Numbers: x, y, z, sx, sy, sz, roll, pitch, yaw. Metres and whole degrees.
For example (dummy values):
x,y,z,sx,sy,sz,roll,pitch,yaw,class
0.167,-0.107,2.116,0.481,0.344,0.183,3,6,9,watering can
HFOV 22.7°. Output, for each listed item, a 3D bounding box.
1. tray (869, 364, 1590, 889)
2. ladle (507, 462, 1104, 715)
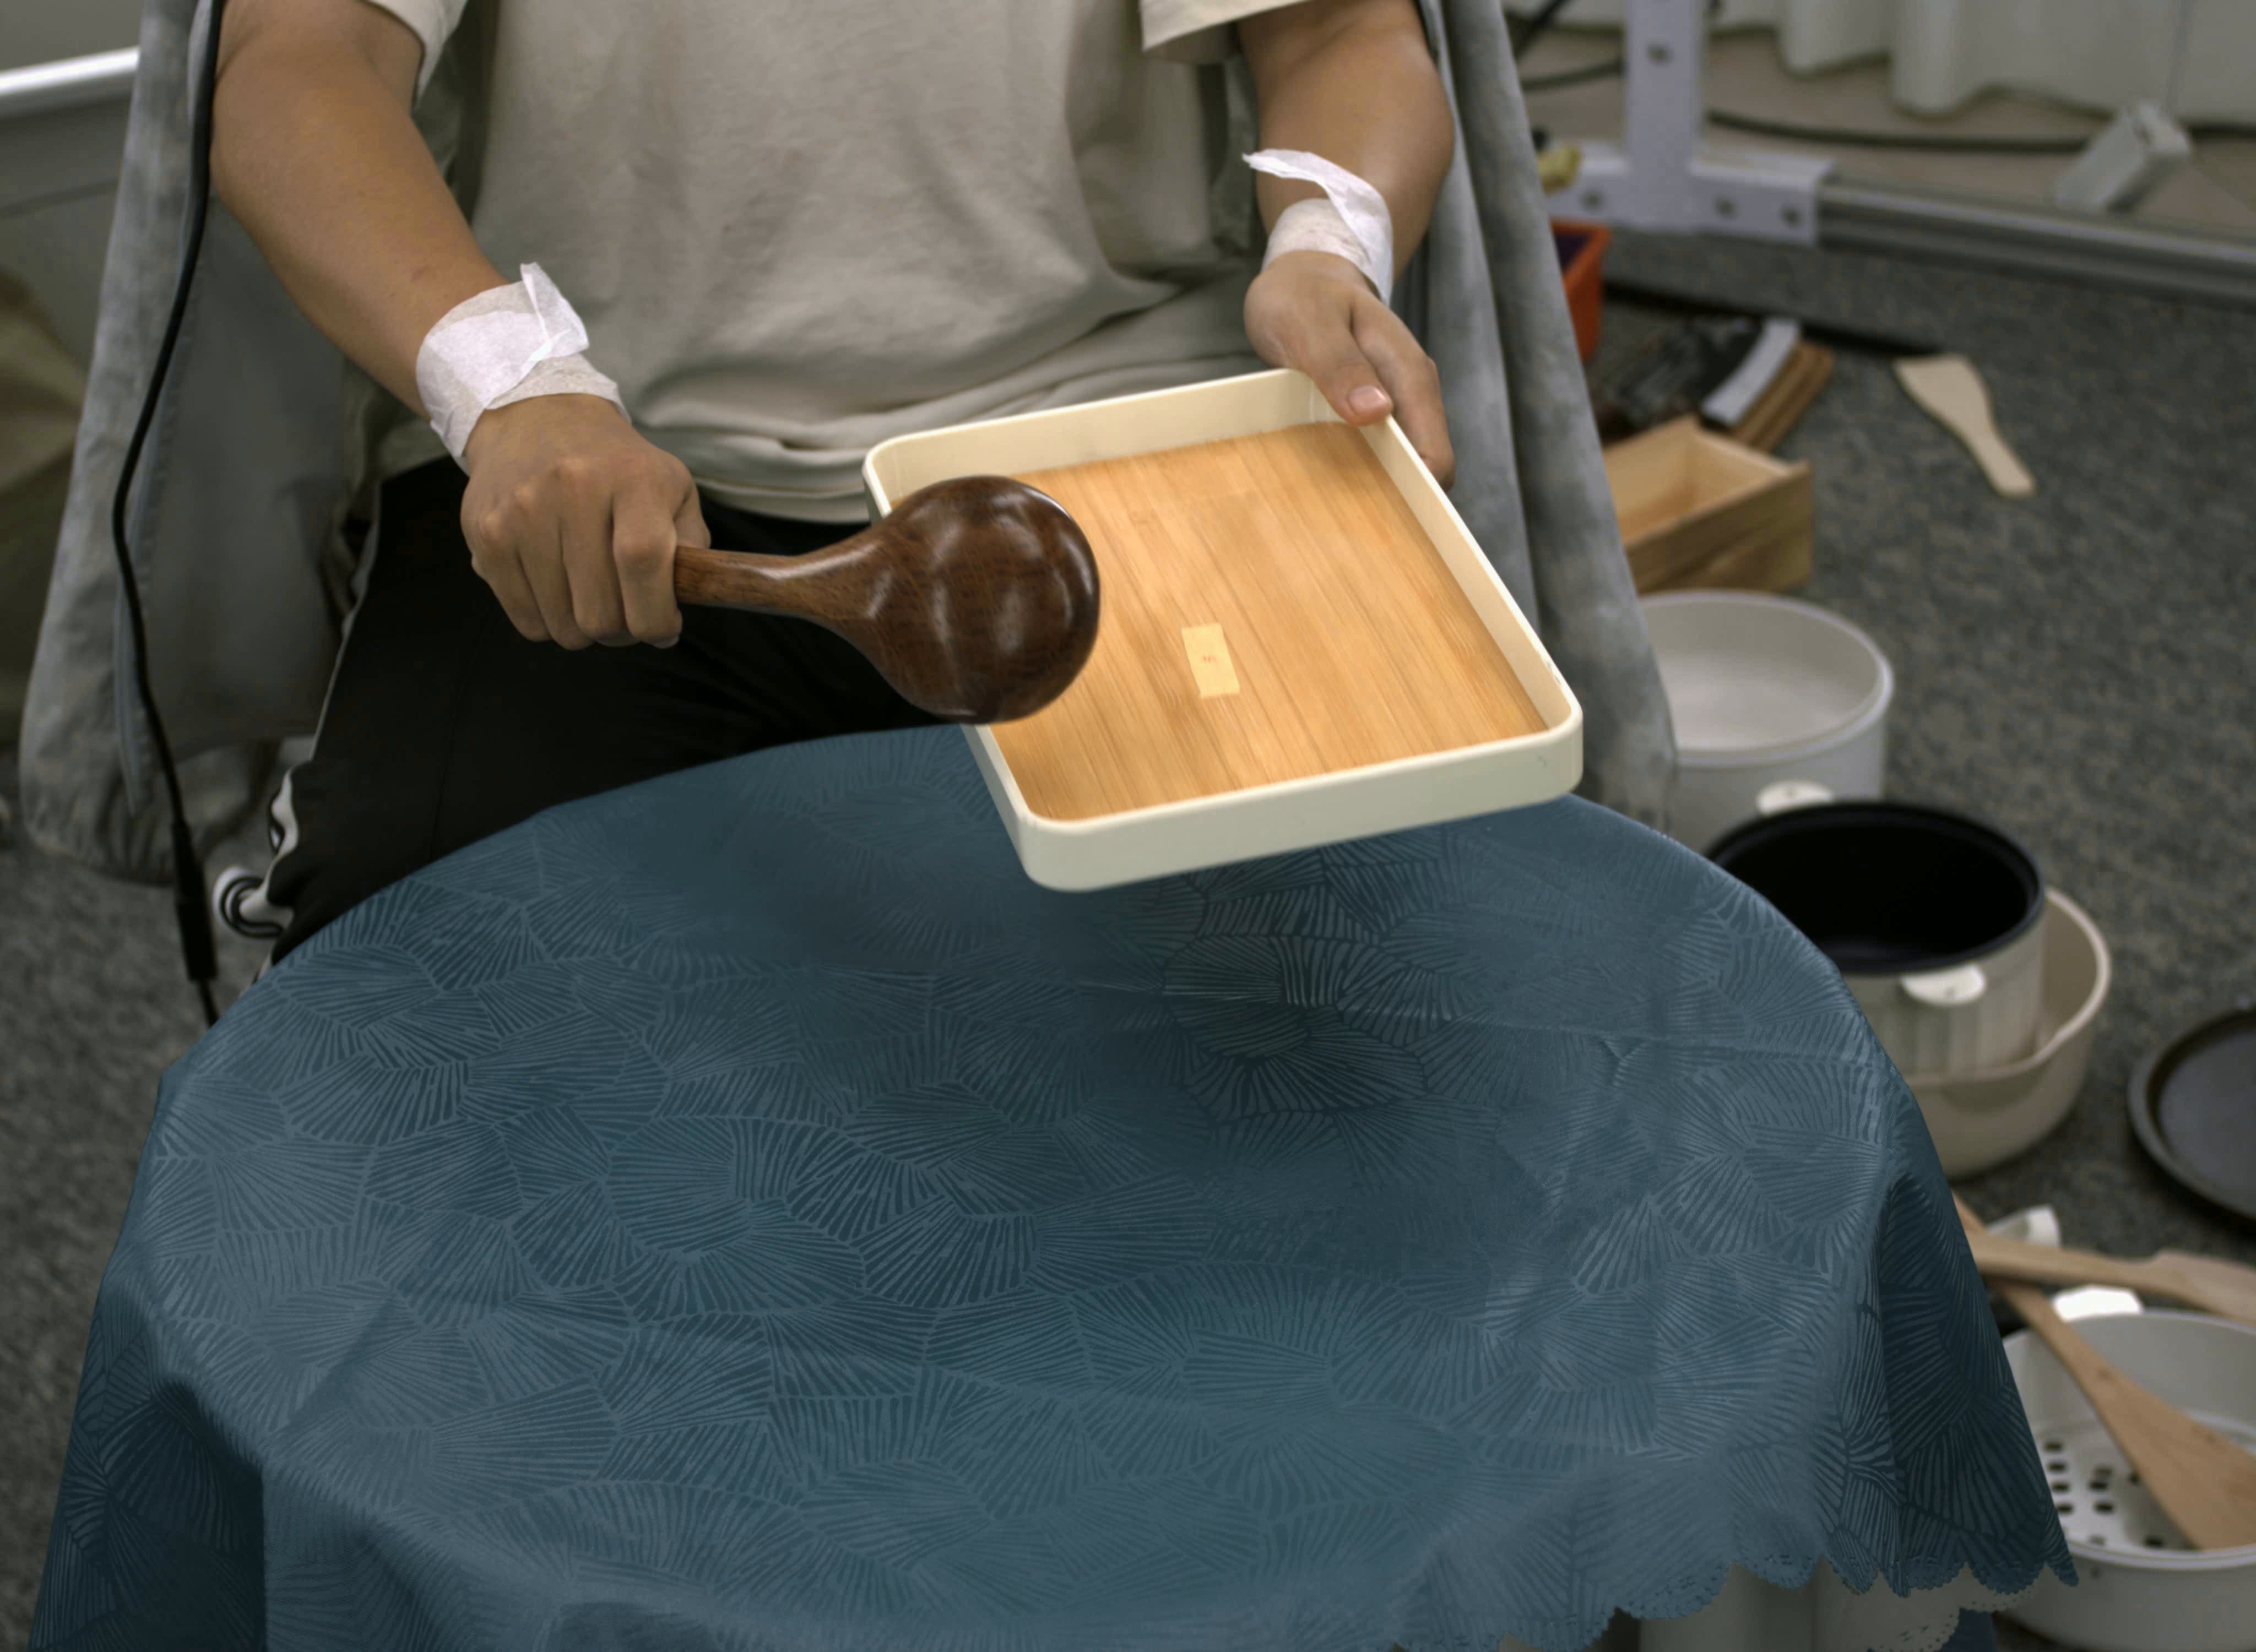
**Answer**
x,y,z,sx,sy,sz,roll,pitch,yaw,class
0.029,-0.074,1.938,0.191,0.027,0.304,-10,30,-9,tray
-0.110,-0.083,1.899,0.076,0.082,0.272,12,-4,-35,ladle
